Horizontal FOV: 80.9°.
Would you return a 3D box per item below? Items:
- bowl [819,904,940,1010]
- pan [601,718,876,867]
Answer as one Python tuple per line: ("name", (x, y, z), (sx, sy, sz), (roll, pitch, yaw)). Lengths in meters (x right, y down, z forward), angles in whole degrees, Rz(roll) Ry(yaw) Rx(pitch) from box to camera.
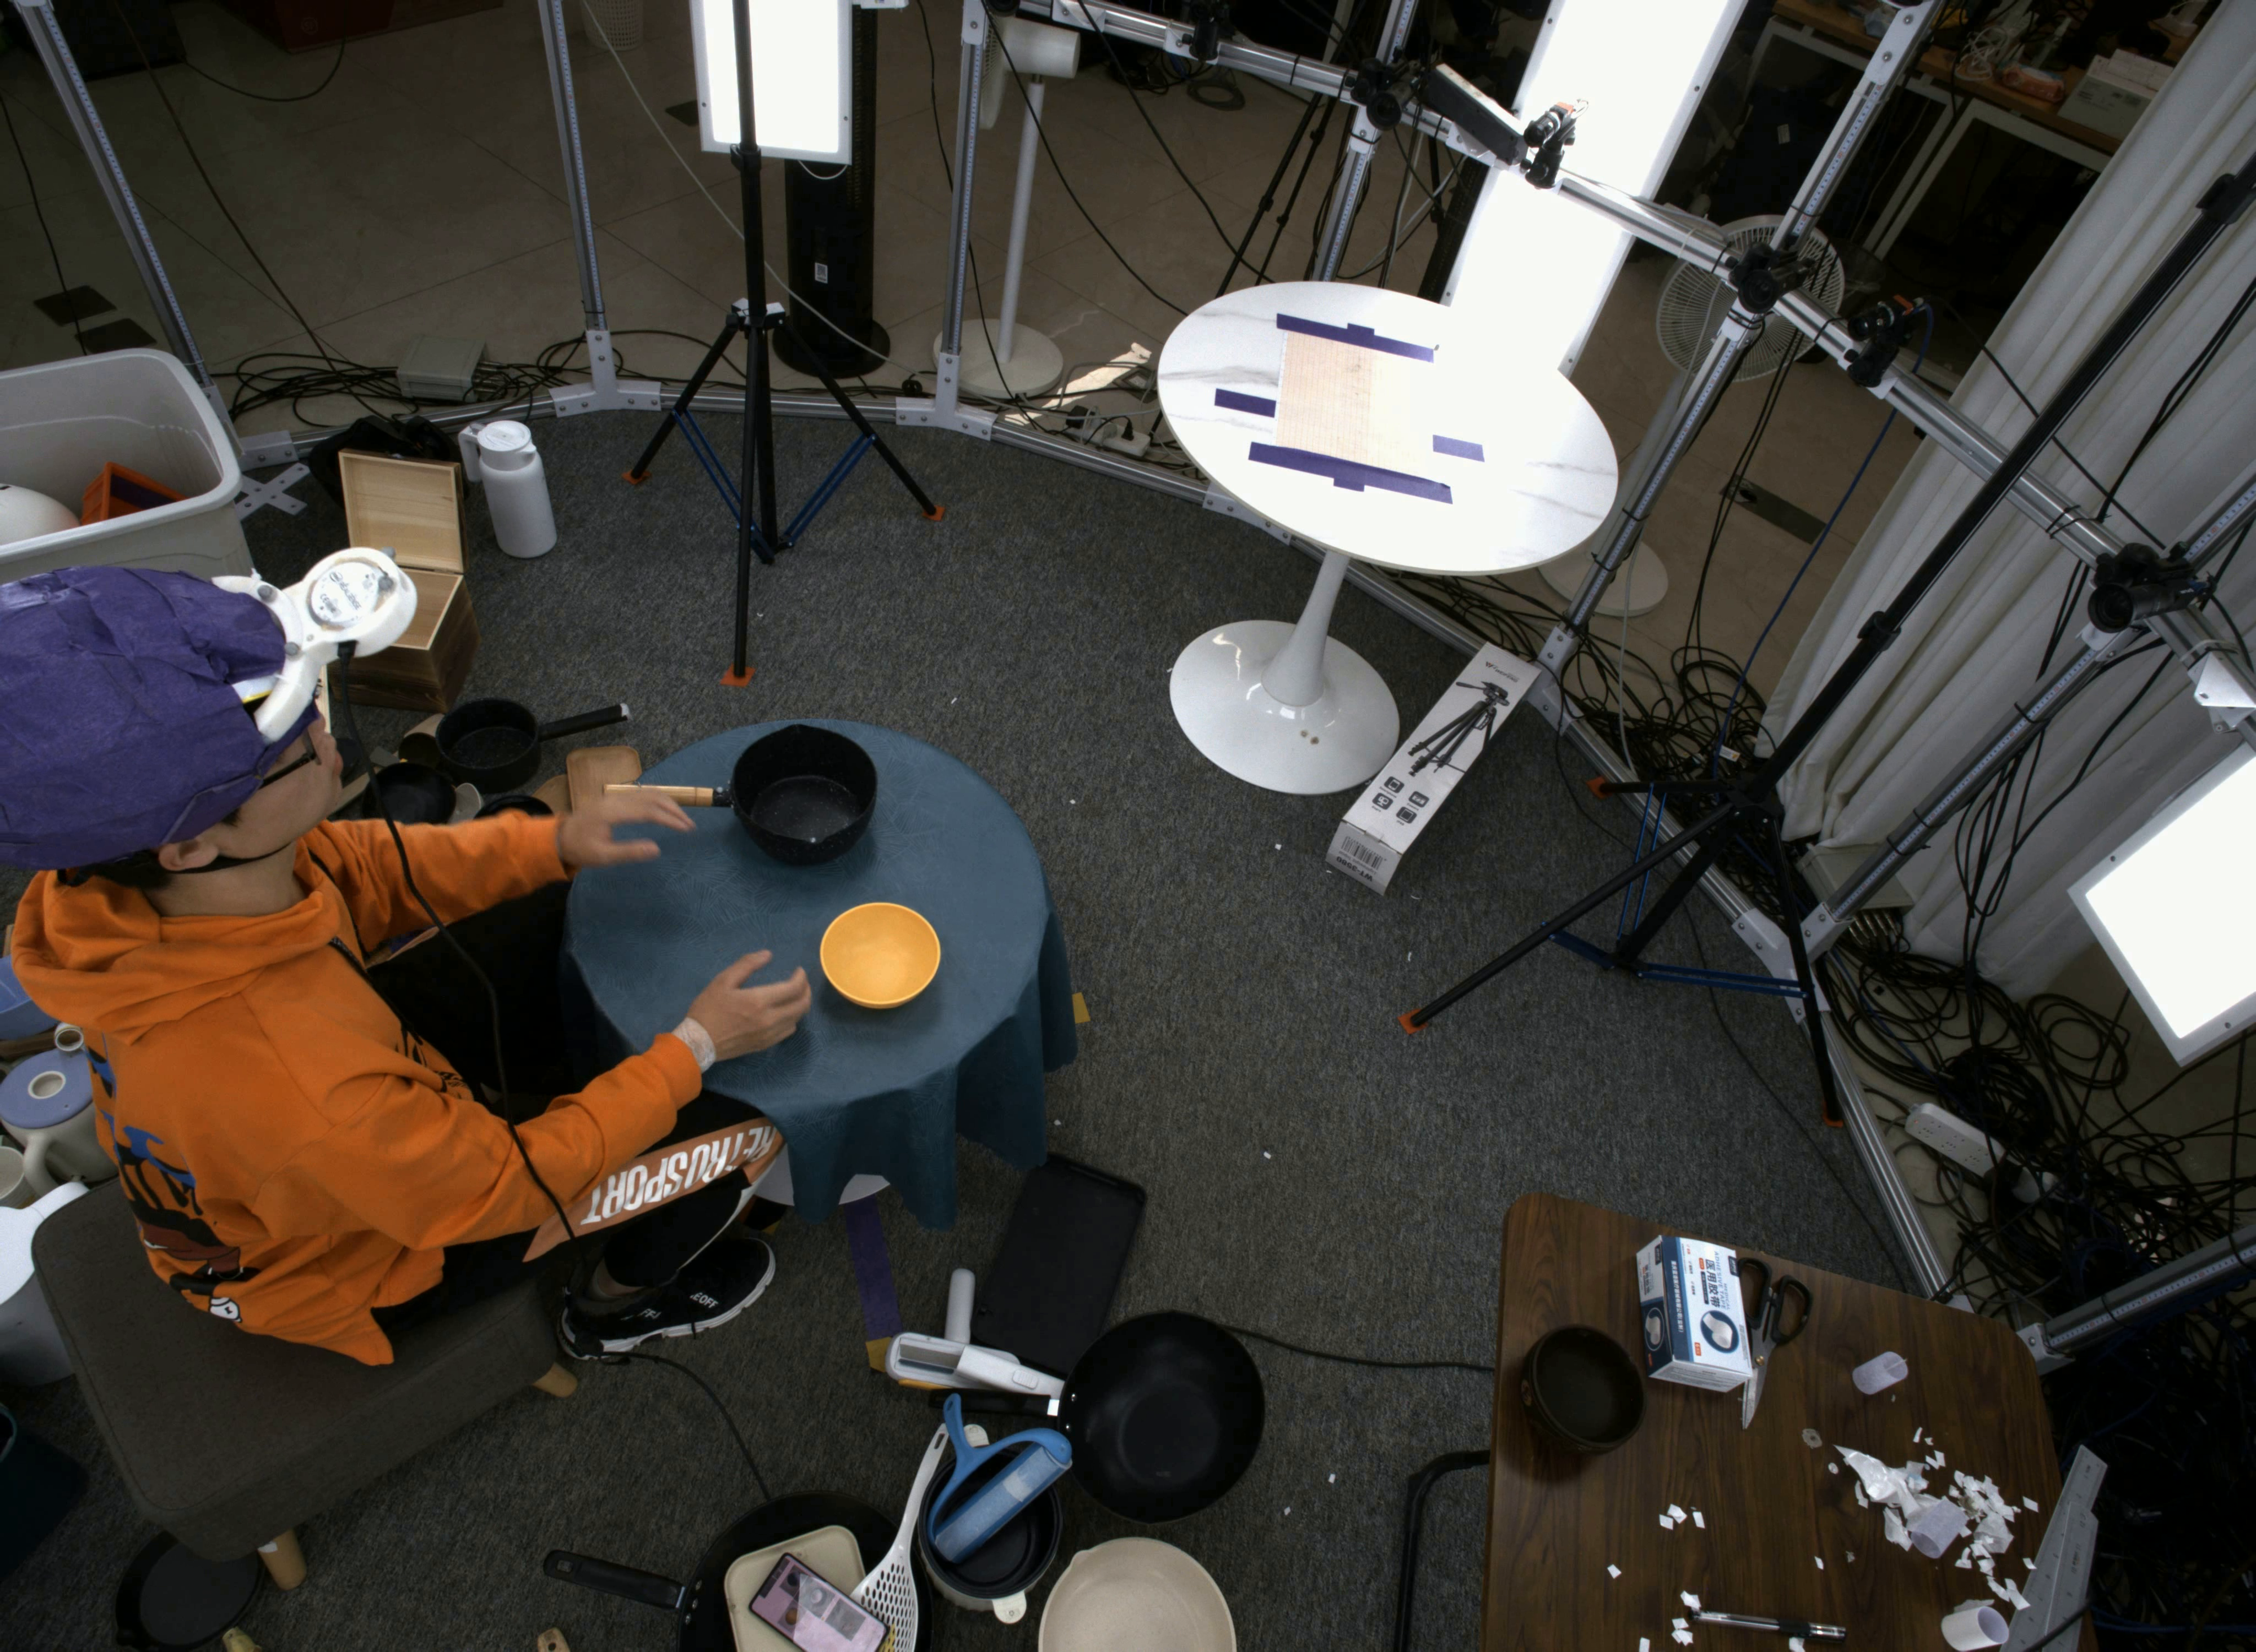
("bowl", (-0.302, 0.168, 1.582), (0.145, 0.061, 0.142), (8, 51, -8))
("pan", (-0.495, -0.032, 1.649), (0.345, 0.110, 0.203), (-7, 57, -21))
